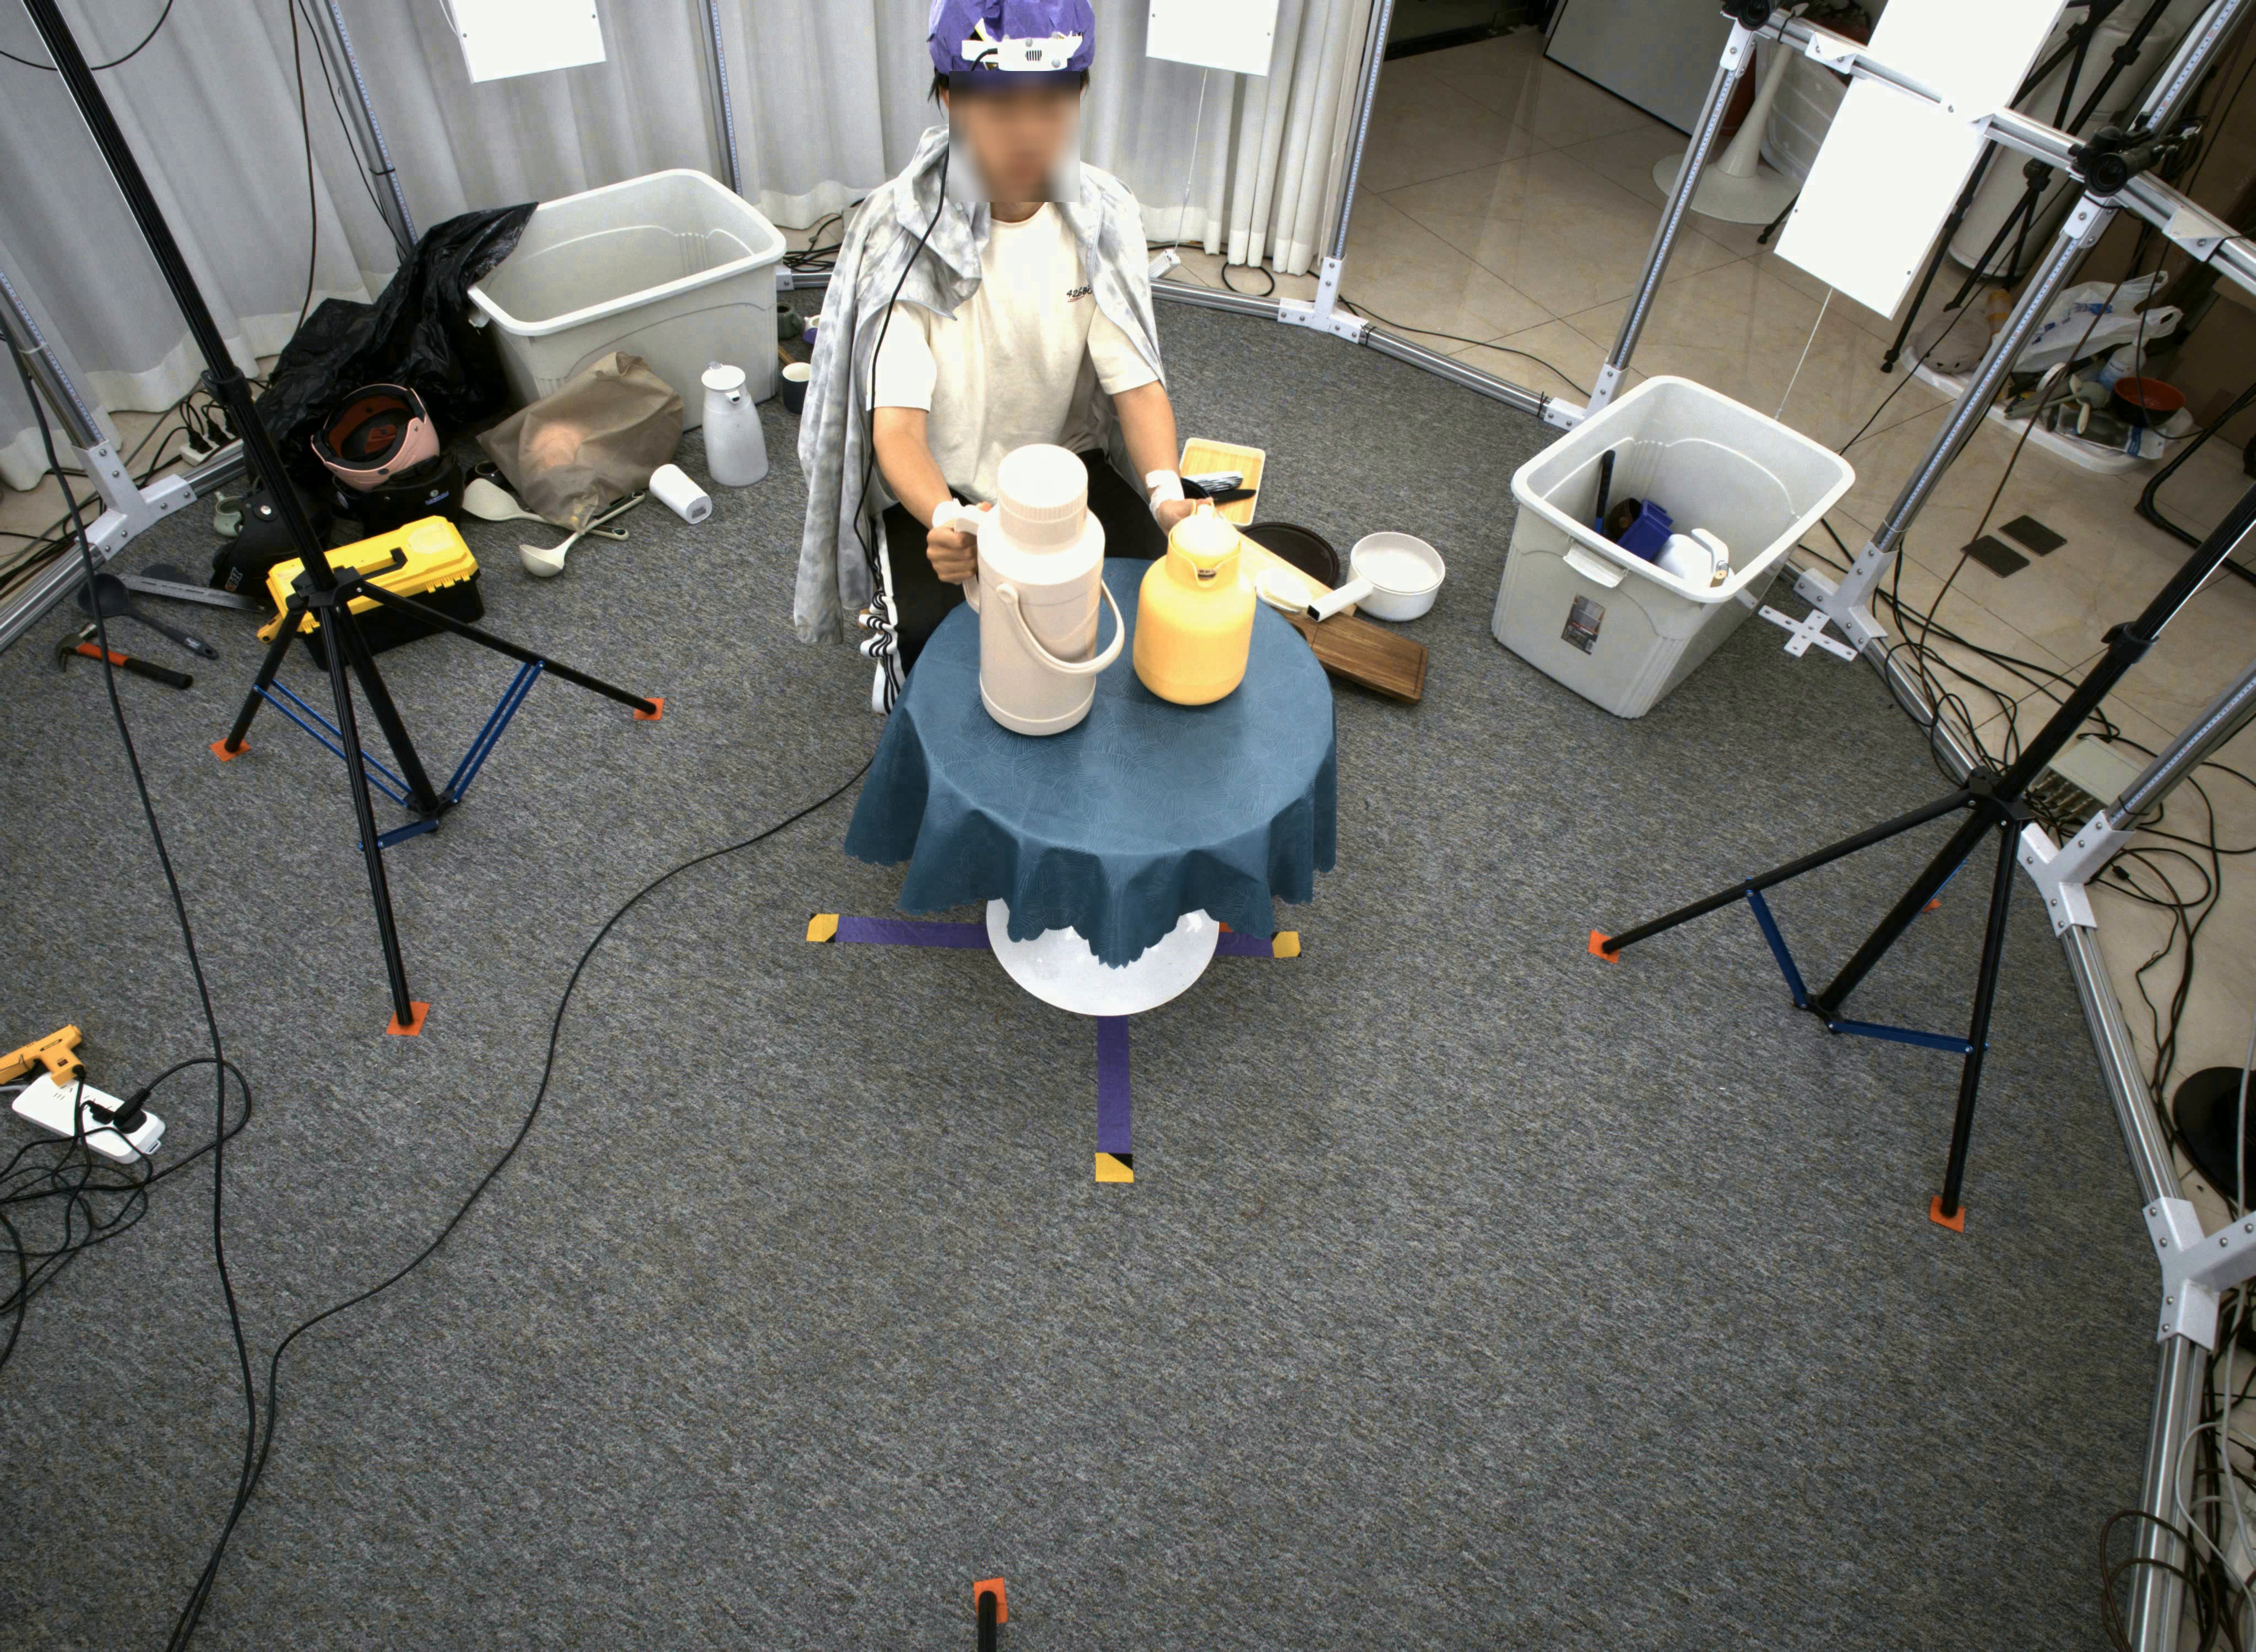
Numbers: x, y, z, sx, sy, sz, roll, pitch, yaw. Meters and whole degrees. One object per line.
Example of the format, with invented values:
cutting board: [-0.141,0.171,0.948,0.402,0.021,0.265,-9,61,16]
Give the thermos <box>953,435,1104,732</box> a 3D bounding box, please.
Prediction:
thermos: [-0.125,-0.307,1.635,0.208,0.397,0.178,25,58,12]

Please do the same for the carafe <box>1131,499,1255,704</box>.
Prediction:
carafe: [0.095,-0.317,1.775,0.163,0.254,0.207,6,50,-2]
